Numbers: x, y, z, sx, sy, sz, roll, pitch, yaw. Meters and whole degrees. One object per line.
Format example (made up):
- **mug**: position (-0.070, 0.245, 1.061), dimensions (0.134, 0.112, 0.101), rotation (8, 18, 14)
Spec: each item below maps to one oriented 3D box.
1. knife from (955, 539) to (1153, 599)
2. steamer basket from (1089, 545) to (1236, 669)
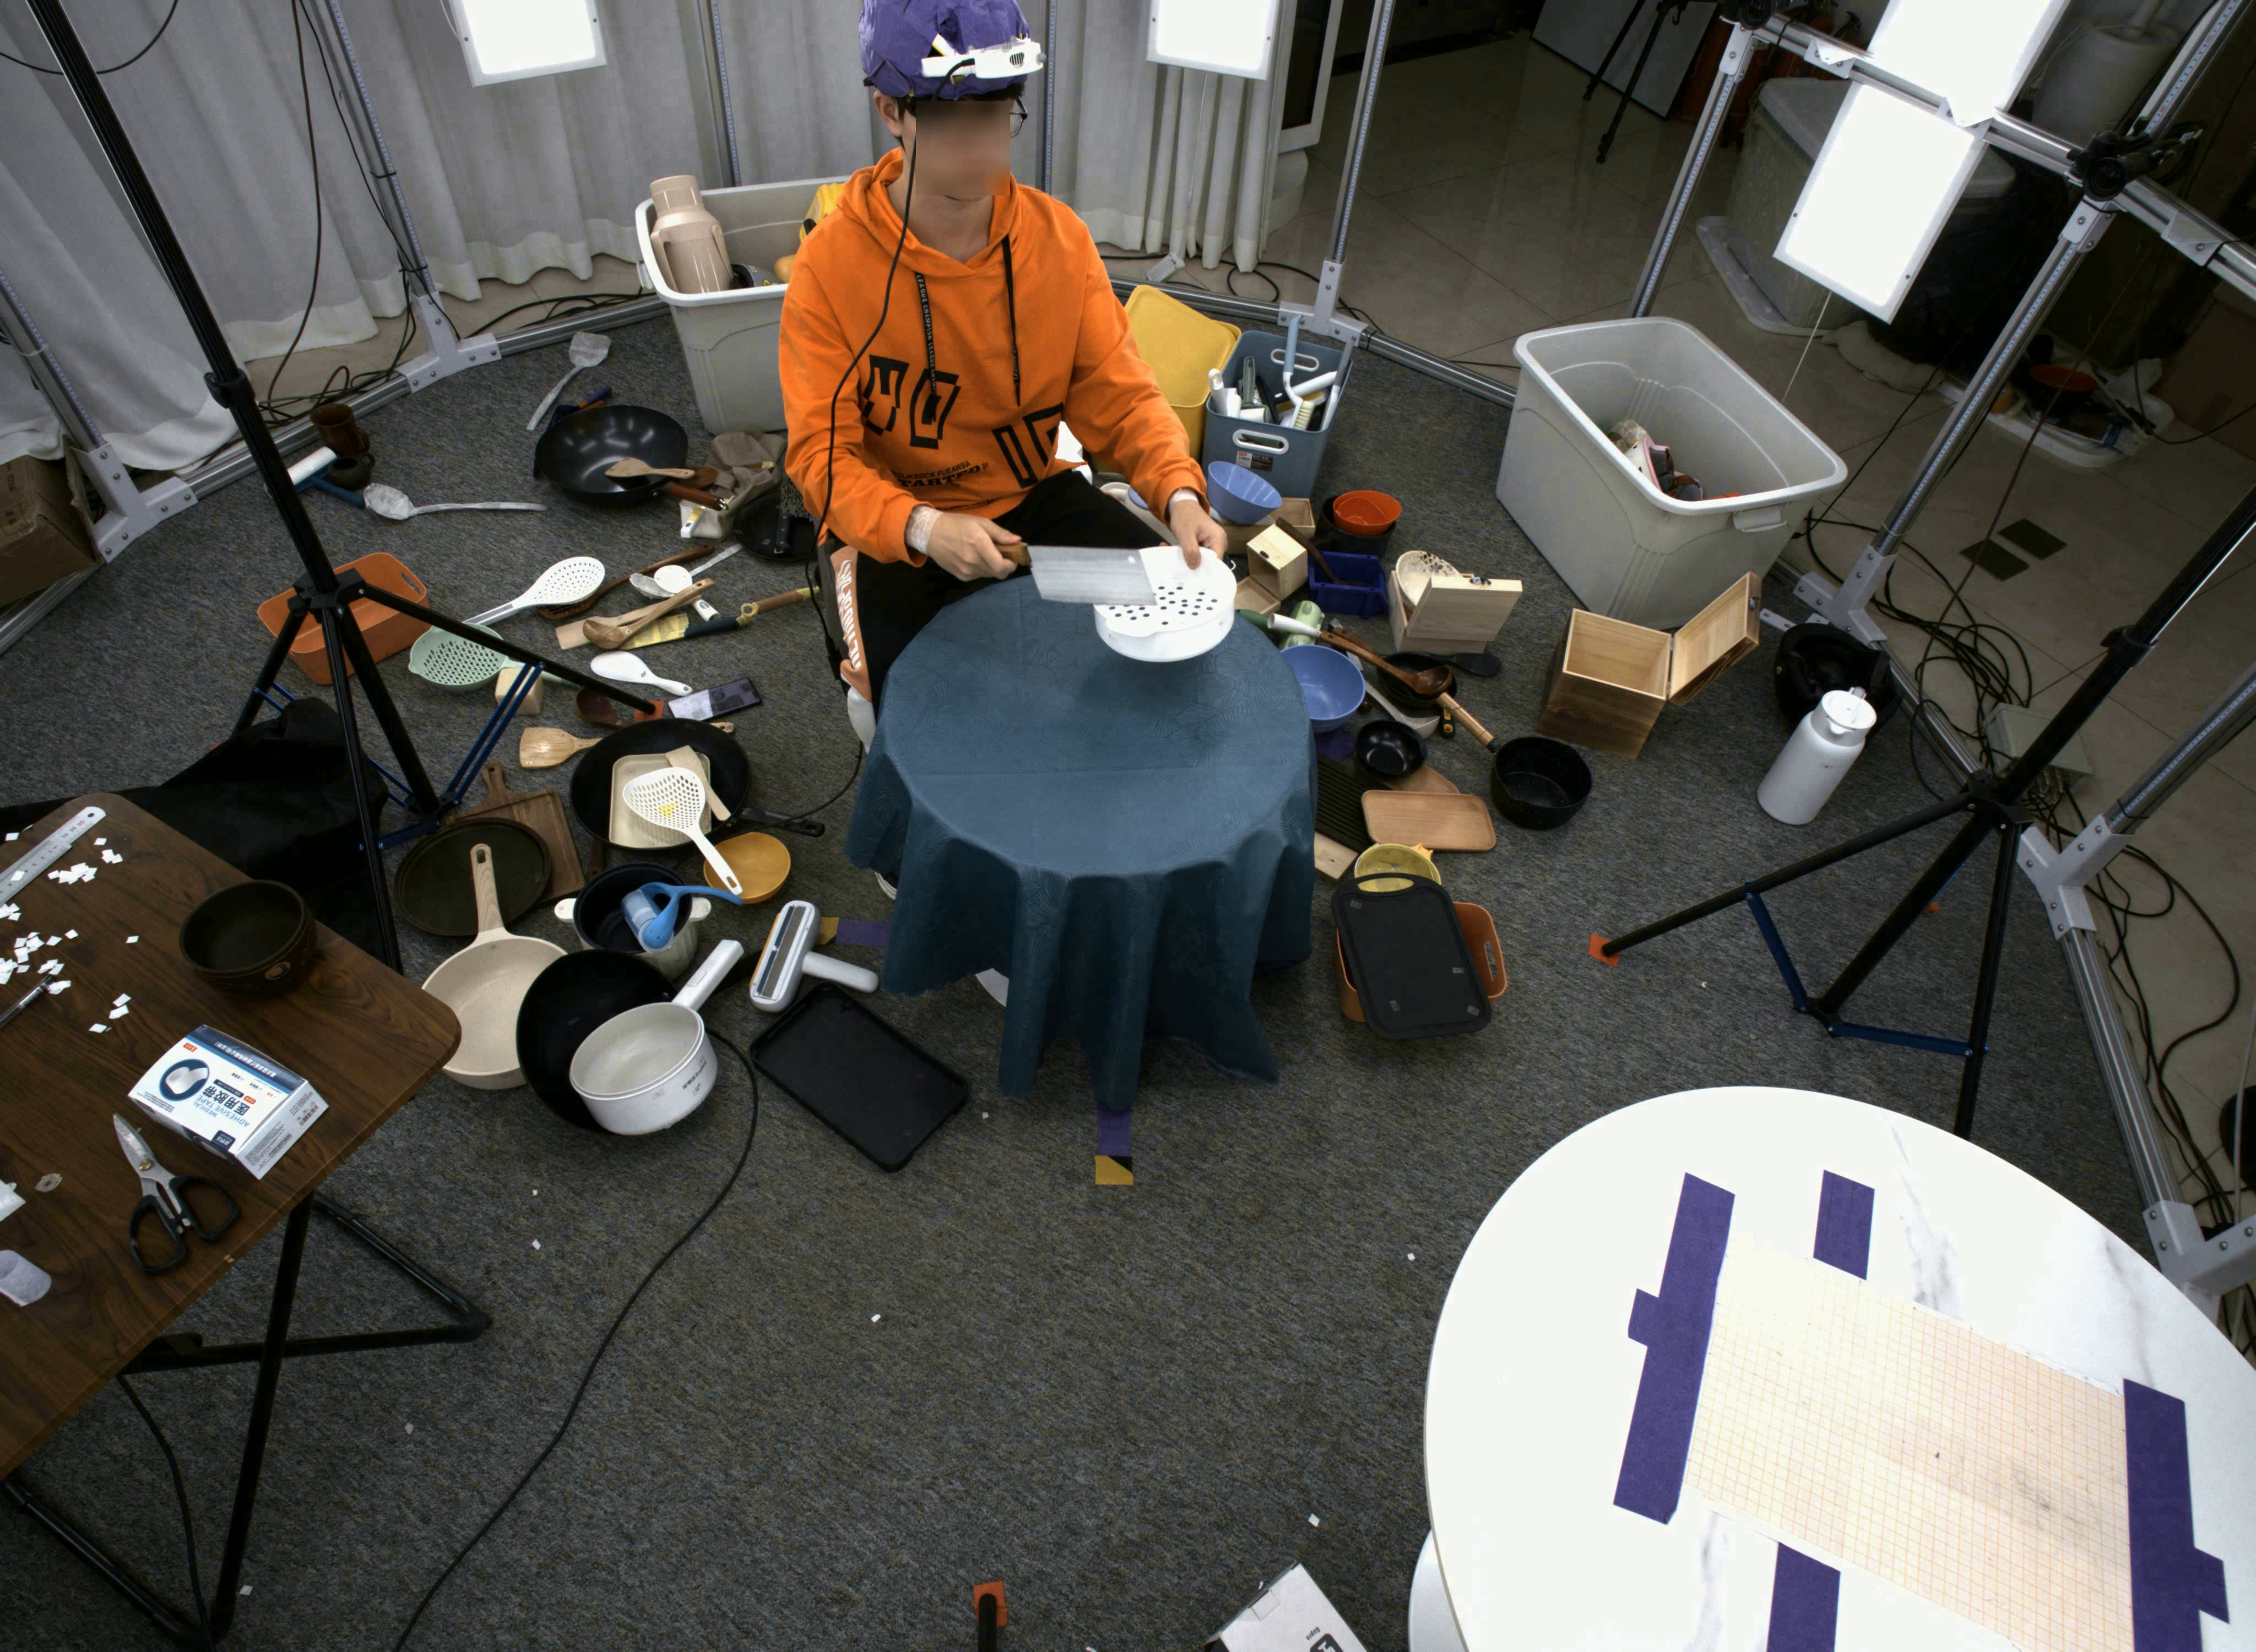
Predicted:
- **knife**: position (-0.100, -0.345, 1.737), dimensions (0.308, 0.091, 0.021), rotation (9, 50, 33)
- **steamer basket**: position (0.049, -0.300, 1.776), dimensions (0.203, 0.067, 0.234), rotation (15, 49, 22)
